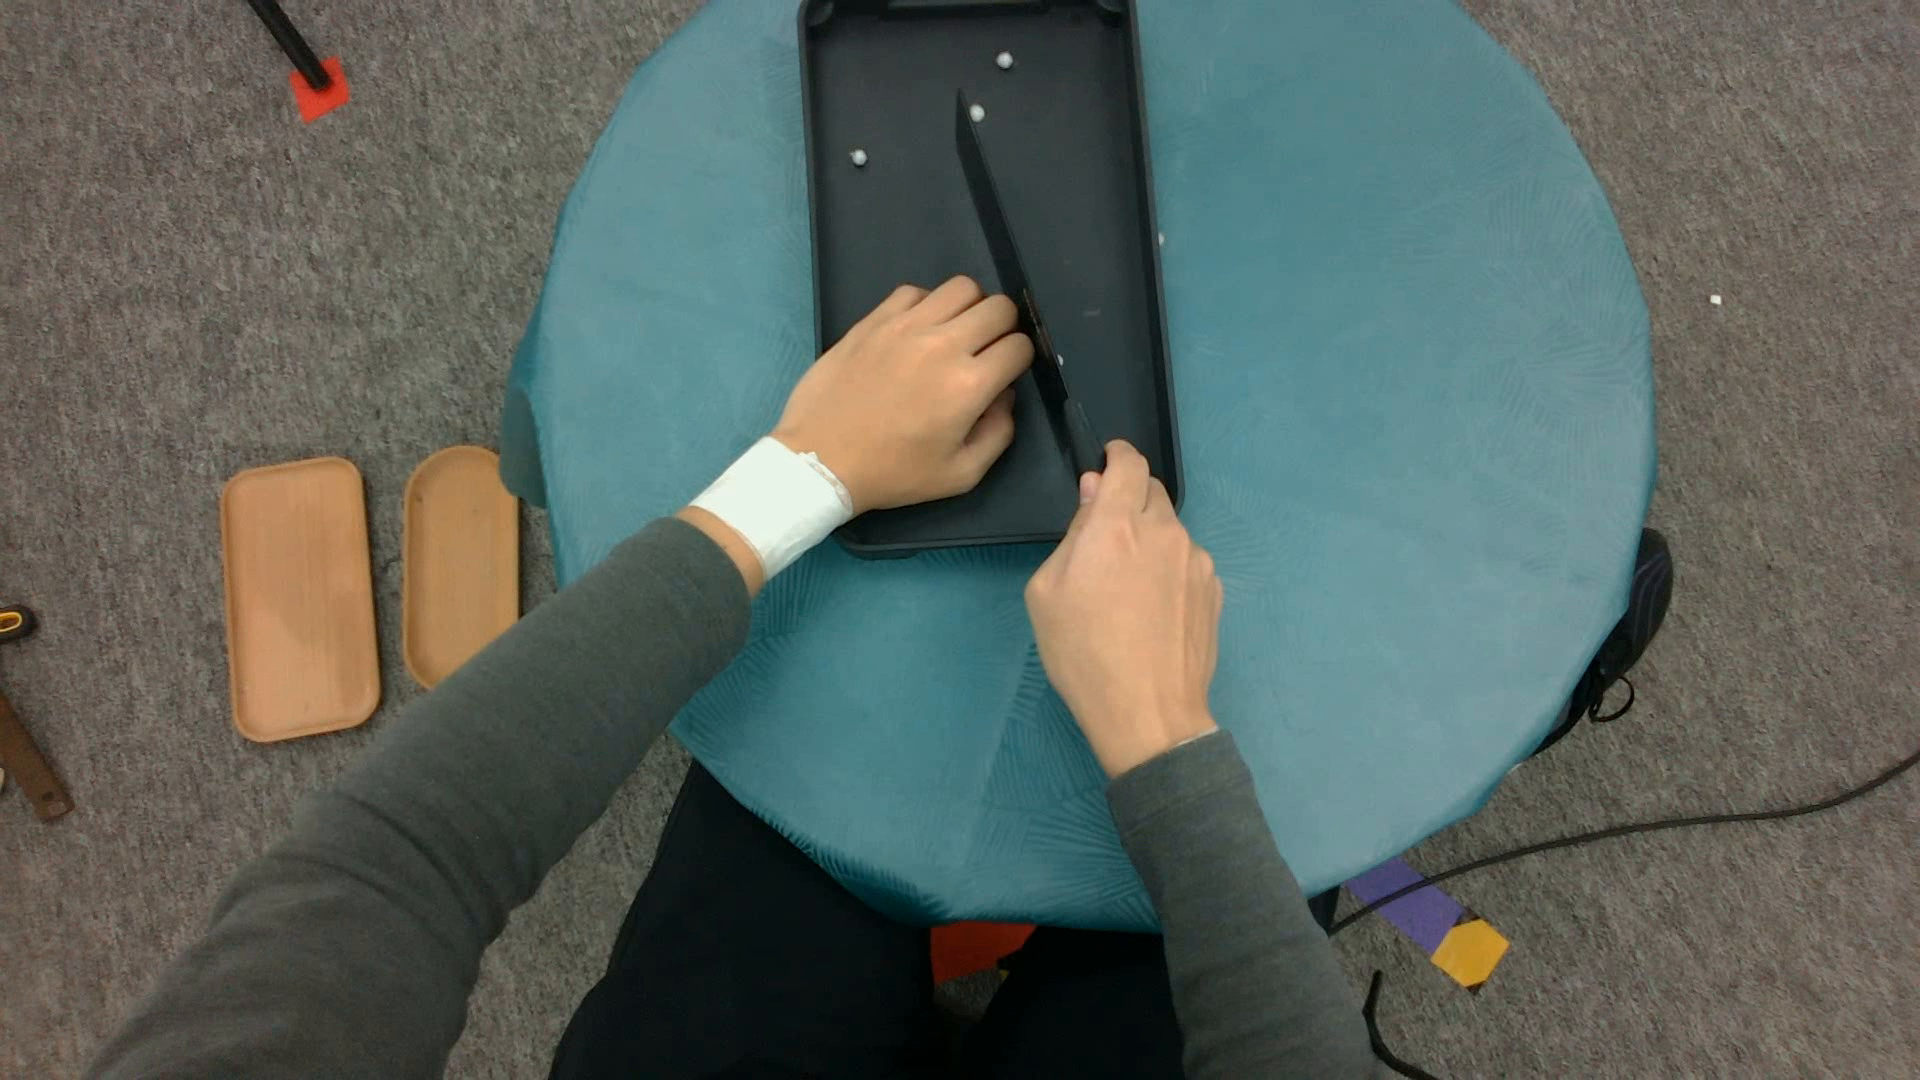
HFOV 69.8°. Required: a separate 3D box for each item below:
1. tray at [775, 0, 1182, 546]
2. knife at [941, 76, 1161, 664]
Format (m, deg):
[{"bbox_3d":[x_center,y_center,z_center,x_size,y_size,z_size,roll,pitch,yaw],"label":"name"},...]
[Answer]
[{"bbox_3d":[0.005,-0.158,0.730,0.184,0.037,0.318,-5,77,-3],"label":"tray"},{"bbox_3d":[0.038,-0.084,0.675,0.021,0.080,0.303,-17,75,-6],"label":"knife"}]
